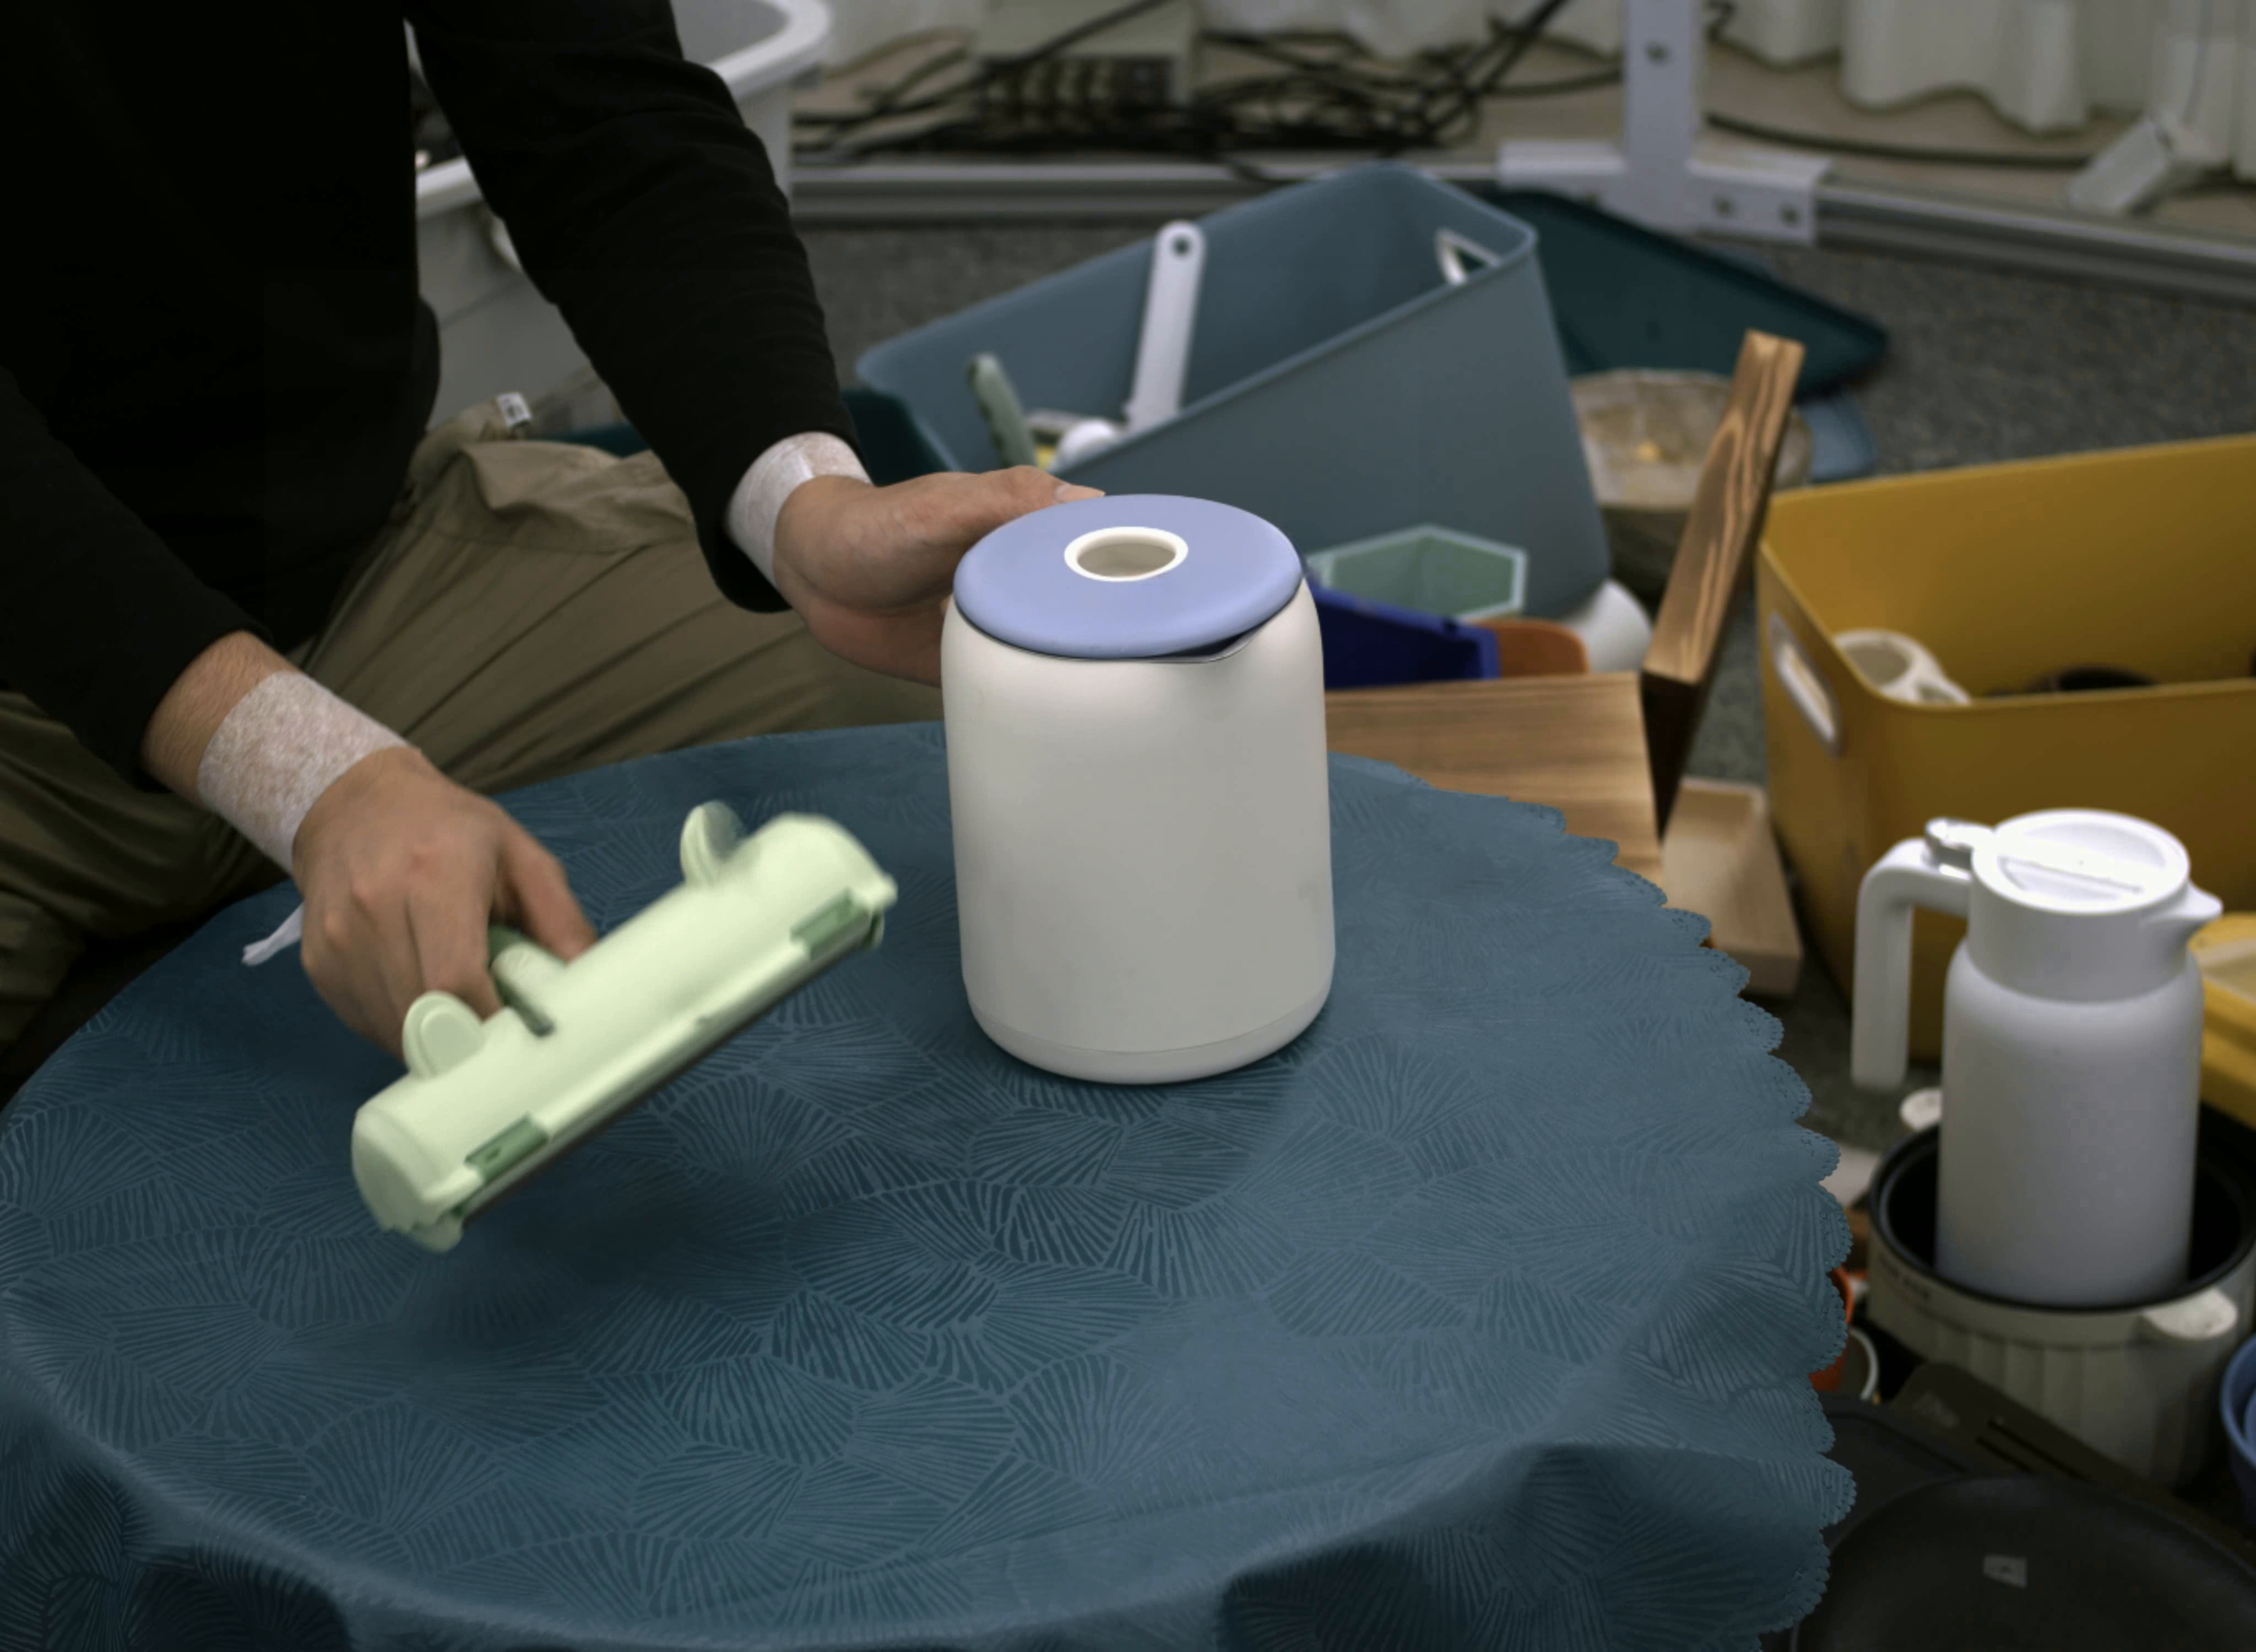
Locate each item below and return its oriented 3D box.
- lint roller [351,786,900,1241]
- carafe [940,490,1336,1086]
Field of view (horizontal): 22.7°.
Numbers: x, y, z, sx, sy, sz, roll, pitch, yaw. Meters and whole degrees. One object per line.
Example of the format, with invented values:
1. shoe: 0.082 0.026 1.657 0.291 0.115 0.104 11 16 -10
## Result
1. lint roller: -0.199 0.040 1.853 0.201 0.081 0.183 -36 37 -28
2. carafe: -0.008 -0.023 1.957 0.133 0.181 0.192 -16 27 -25
